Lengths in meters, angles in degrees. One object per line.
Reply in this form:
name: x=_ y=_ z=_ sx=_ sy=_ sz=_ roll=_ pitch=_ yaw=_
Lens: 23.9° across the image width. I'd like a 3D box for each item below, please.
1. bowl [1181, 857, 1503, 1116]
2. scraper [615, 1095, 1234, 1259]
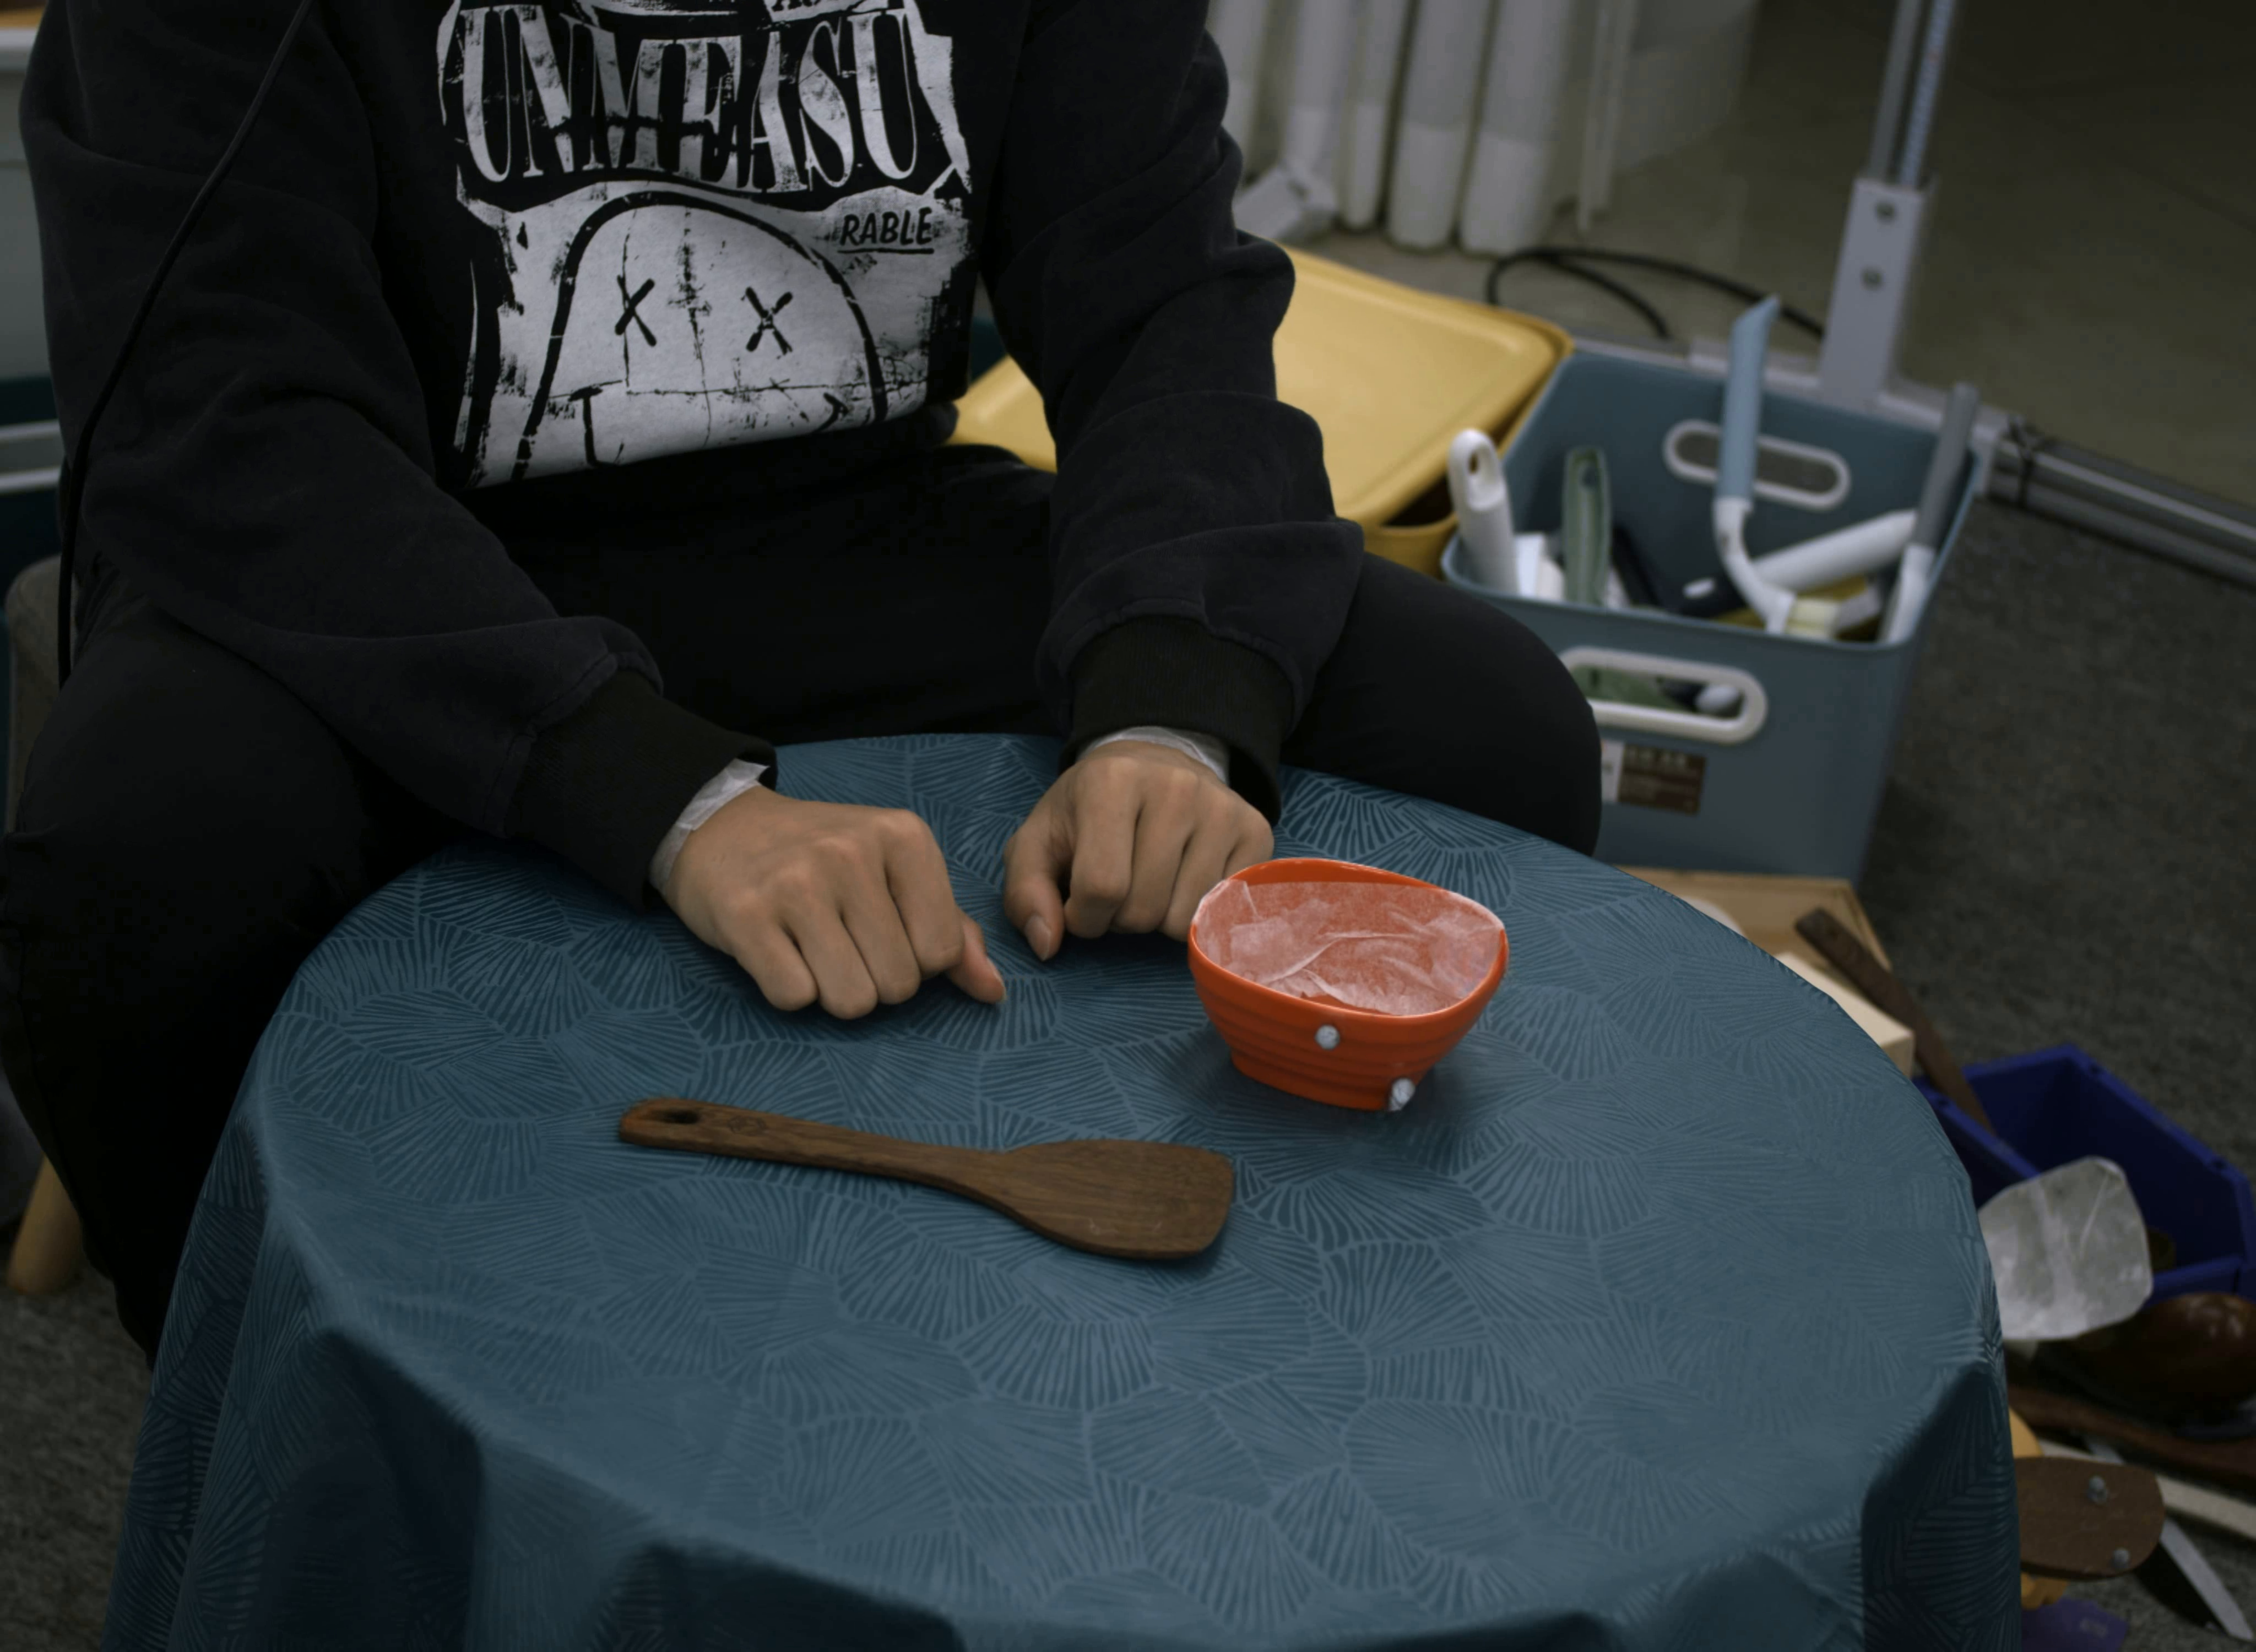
bowl: x=0.074 y=0.061 z=1.889 sx=0.118 sy=0.051 sz=0.119 roll=5 pitch=30 yaw=-3
scraper: x=-0.069 y=0.114 z=1.795 sx=0.211 sy=0.011 sz=0.076 roll=9 pitch=25 yaw=6
